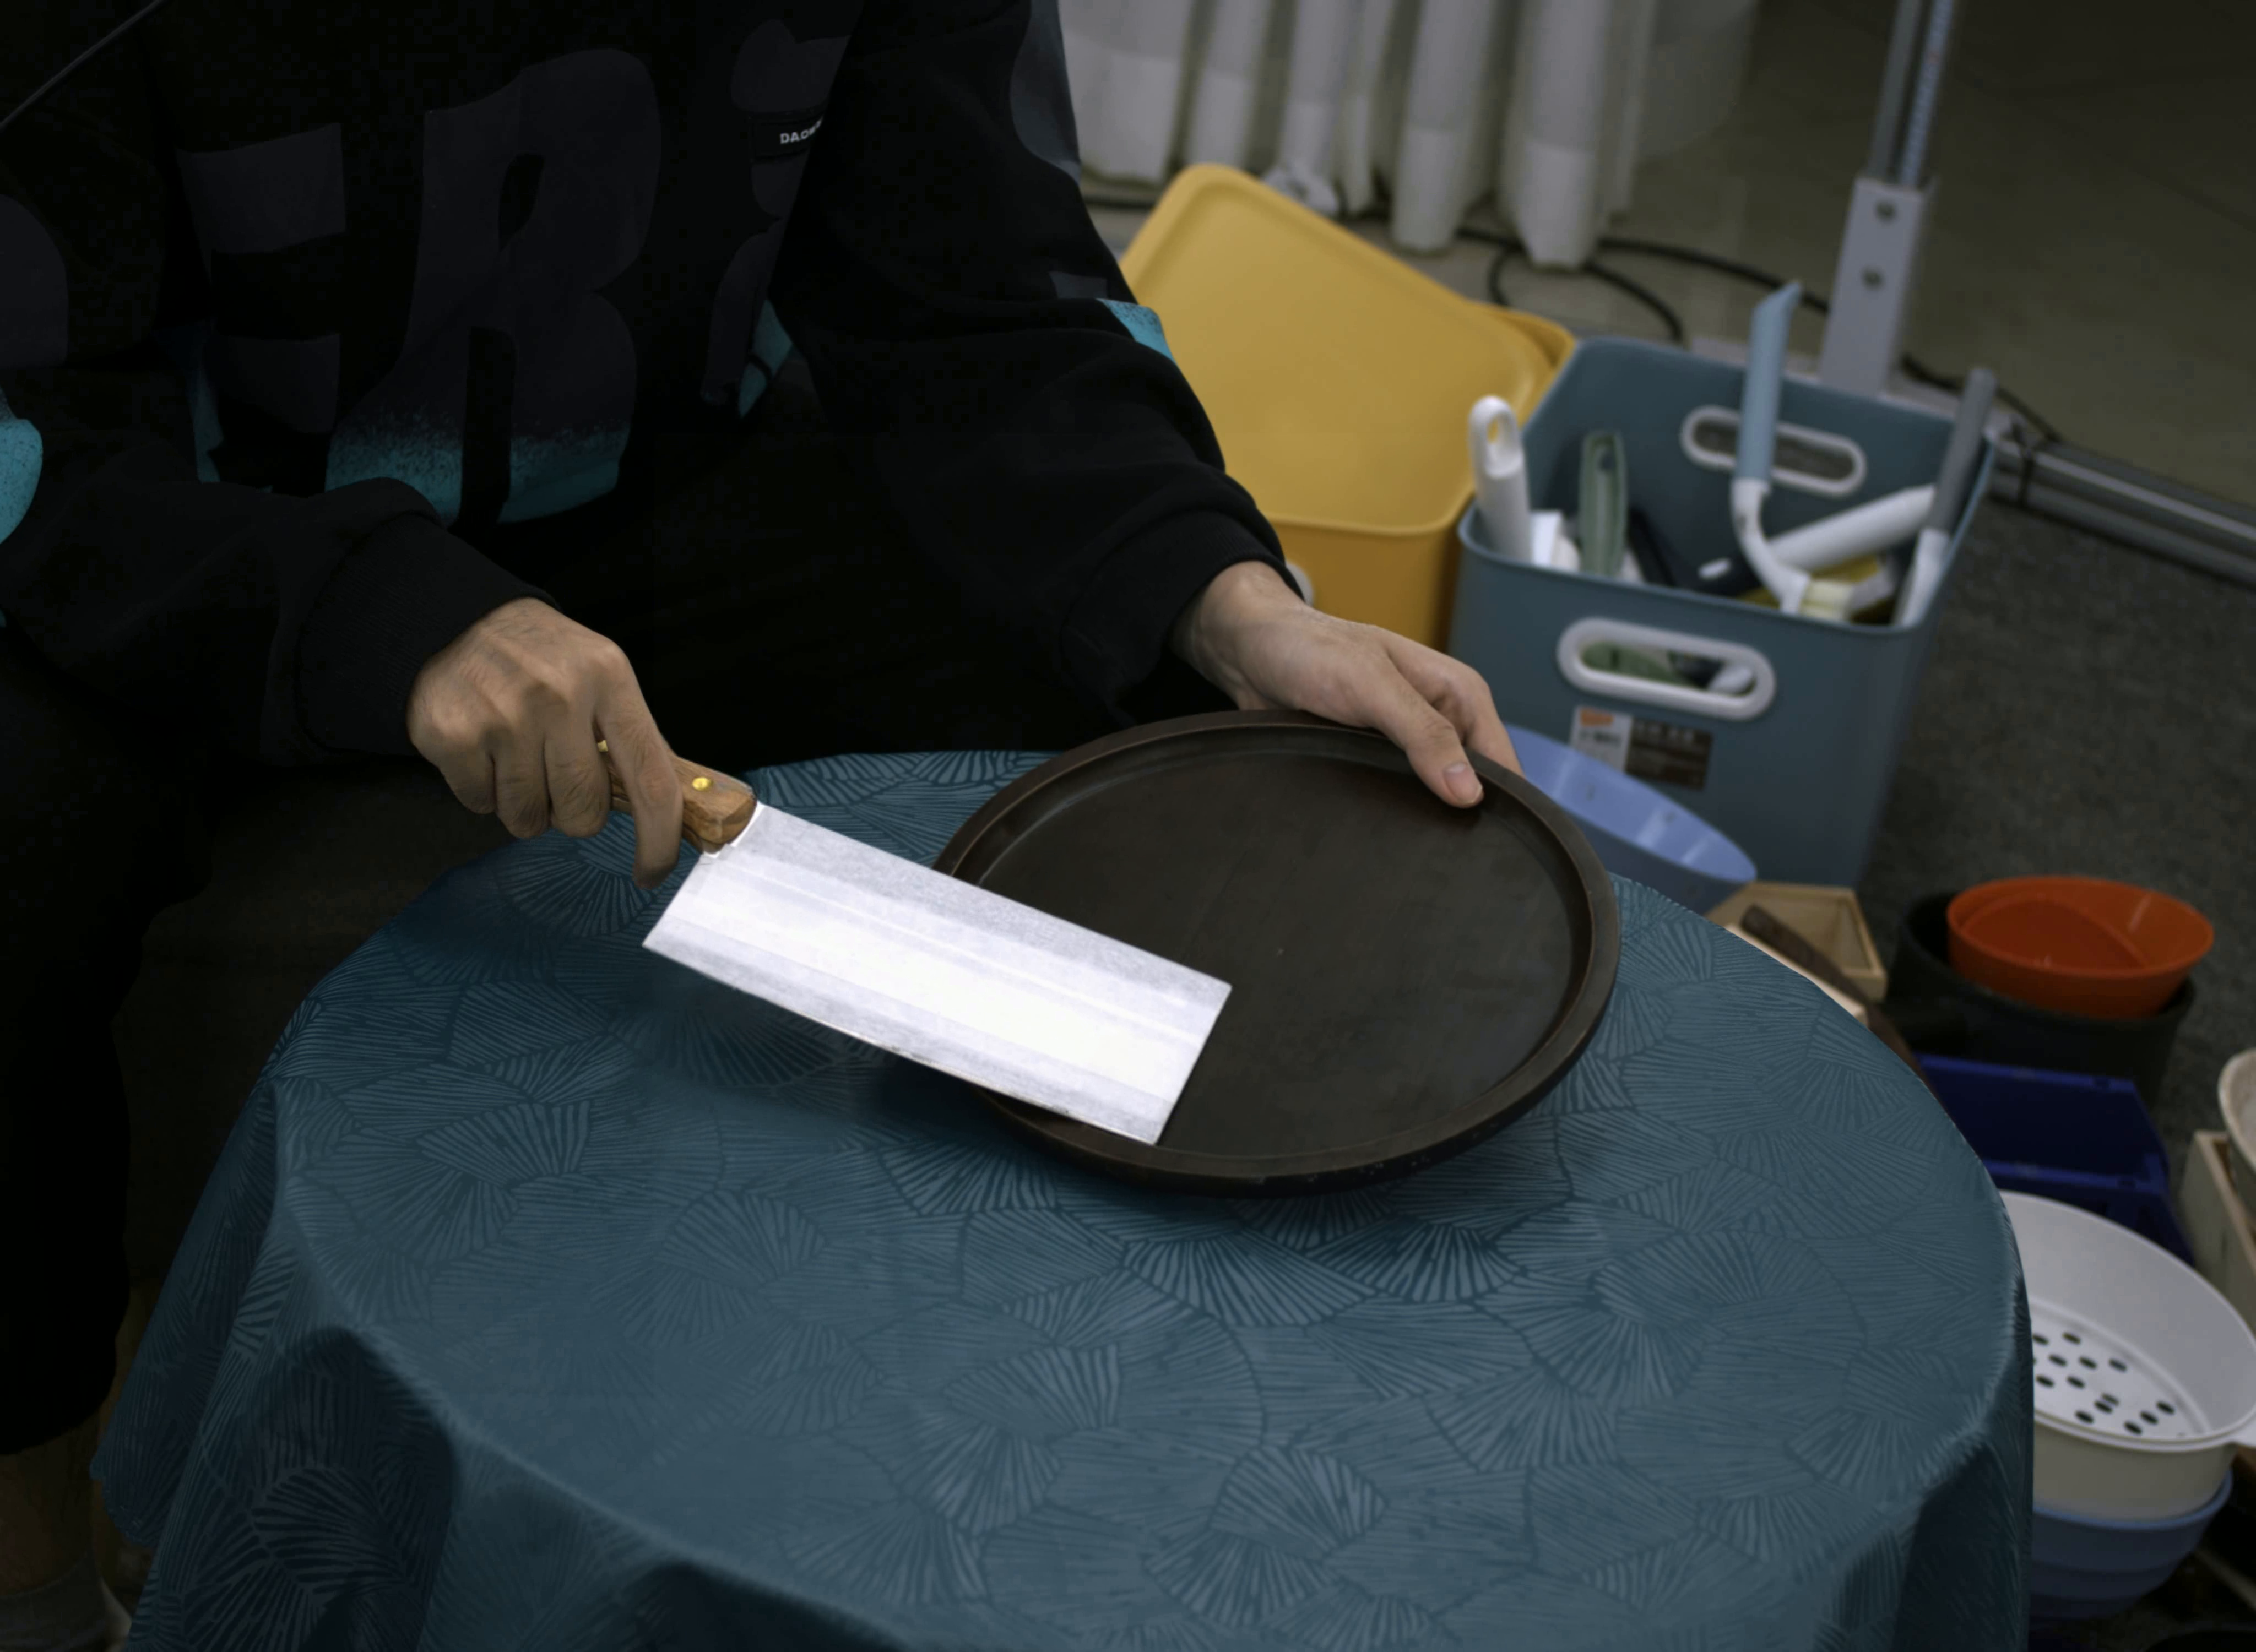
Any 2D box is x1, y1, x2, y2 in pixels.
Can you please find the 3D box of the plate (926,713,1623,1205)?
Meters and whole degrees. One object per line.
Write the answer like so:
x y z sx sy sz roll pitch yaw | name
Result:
0.048 0.045 1.879 0.254 0.029 0.257 -3 41 2 | plate

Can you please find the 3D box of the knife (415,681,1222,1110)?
-0.117 0.028 1.855 0.306 0.021 0.093 21 42 8 | knife
